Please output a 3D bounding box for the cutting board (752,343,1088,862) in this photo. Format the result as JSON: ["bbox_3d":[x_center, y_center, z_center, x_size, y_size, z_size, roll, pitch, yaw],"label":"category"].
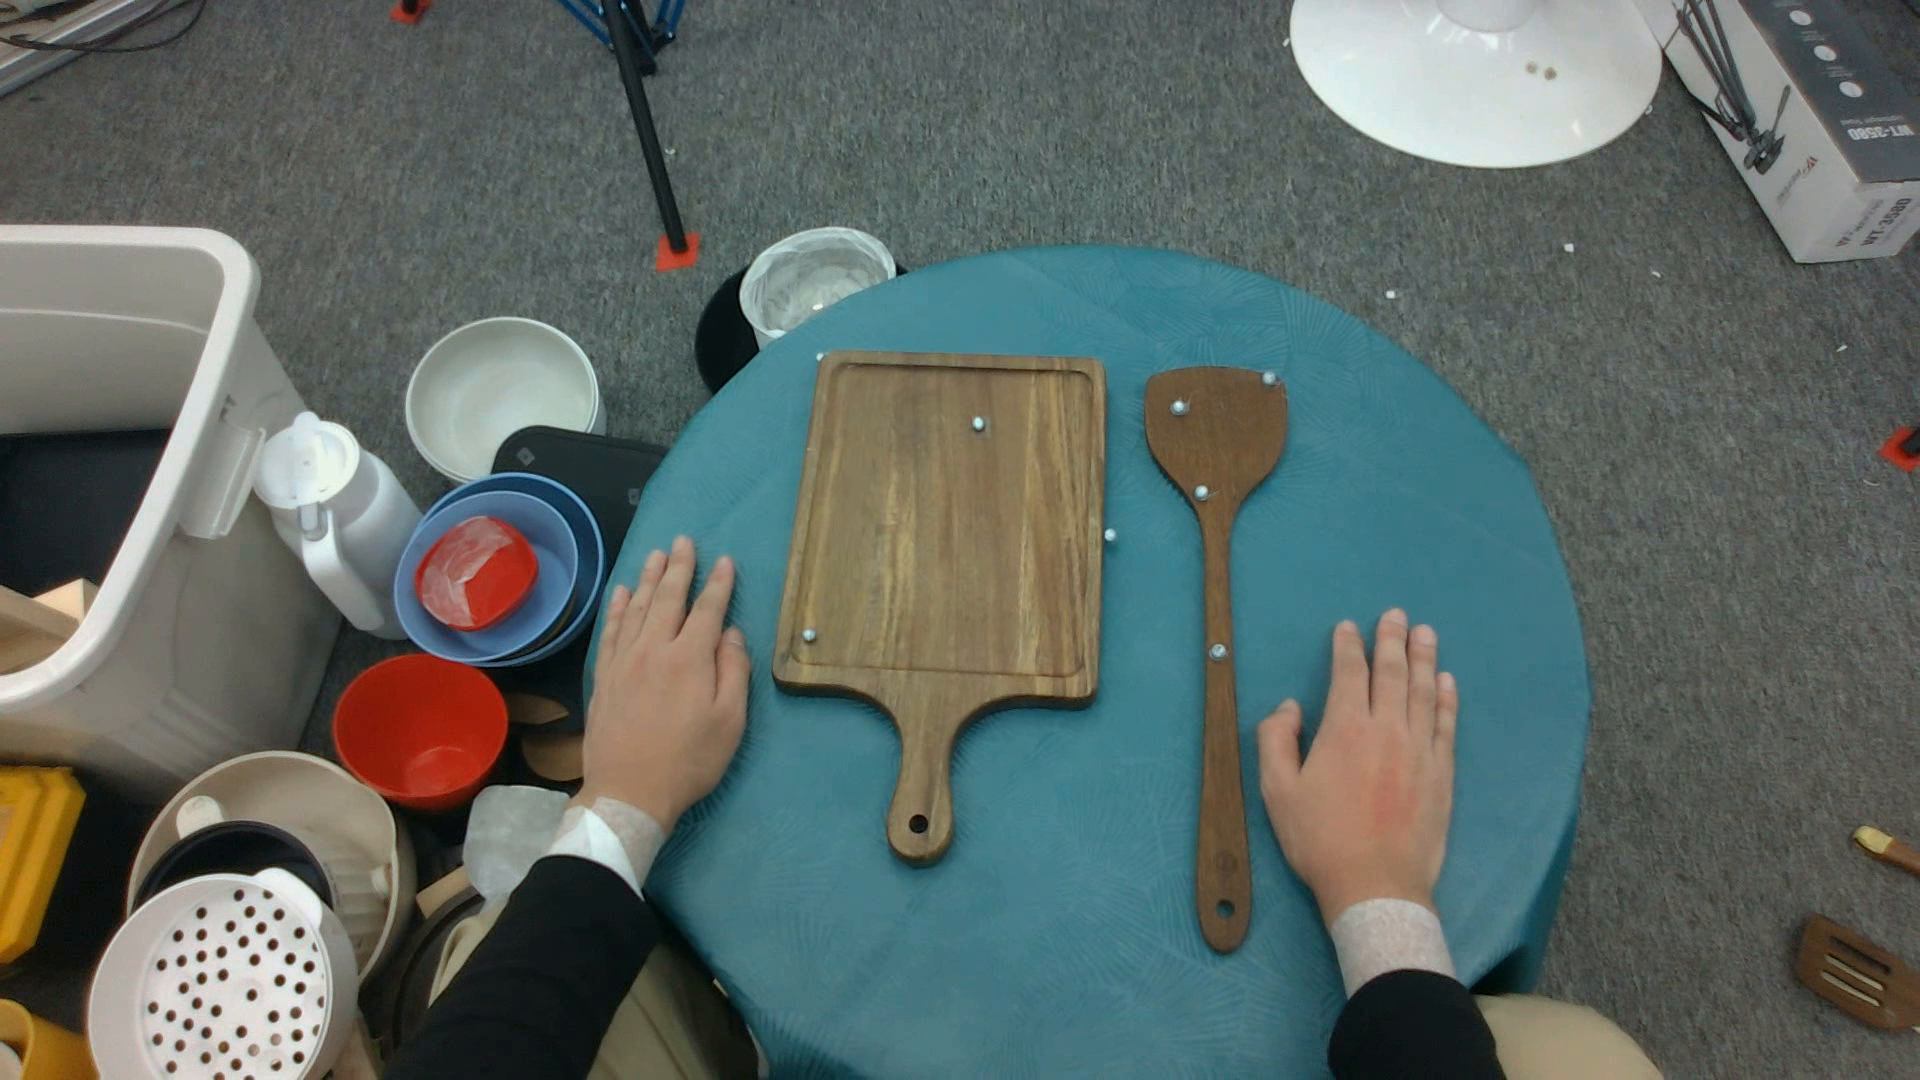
[{"bbox_3d":[-0.022,0.023,0.848,0.201,0.023,0.353,2,60,3],"label":"cutting board"}]

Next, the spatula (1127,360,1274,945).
[{"bbox_3d":[0.148,0.048,0.832,0.096,0.016,0.387,2,60,4],"label":"spatula"}]
